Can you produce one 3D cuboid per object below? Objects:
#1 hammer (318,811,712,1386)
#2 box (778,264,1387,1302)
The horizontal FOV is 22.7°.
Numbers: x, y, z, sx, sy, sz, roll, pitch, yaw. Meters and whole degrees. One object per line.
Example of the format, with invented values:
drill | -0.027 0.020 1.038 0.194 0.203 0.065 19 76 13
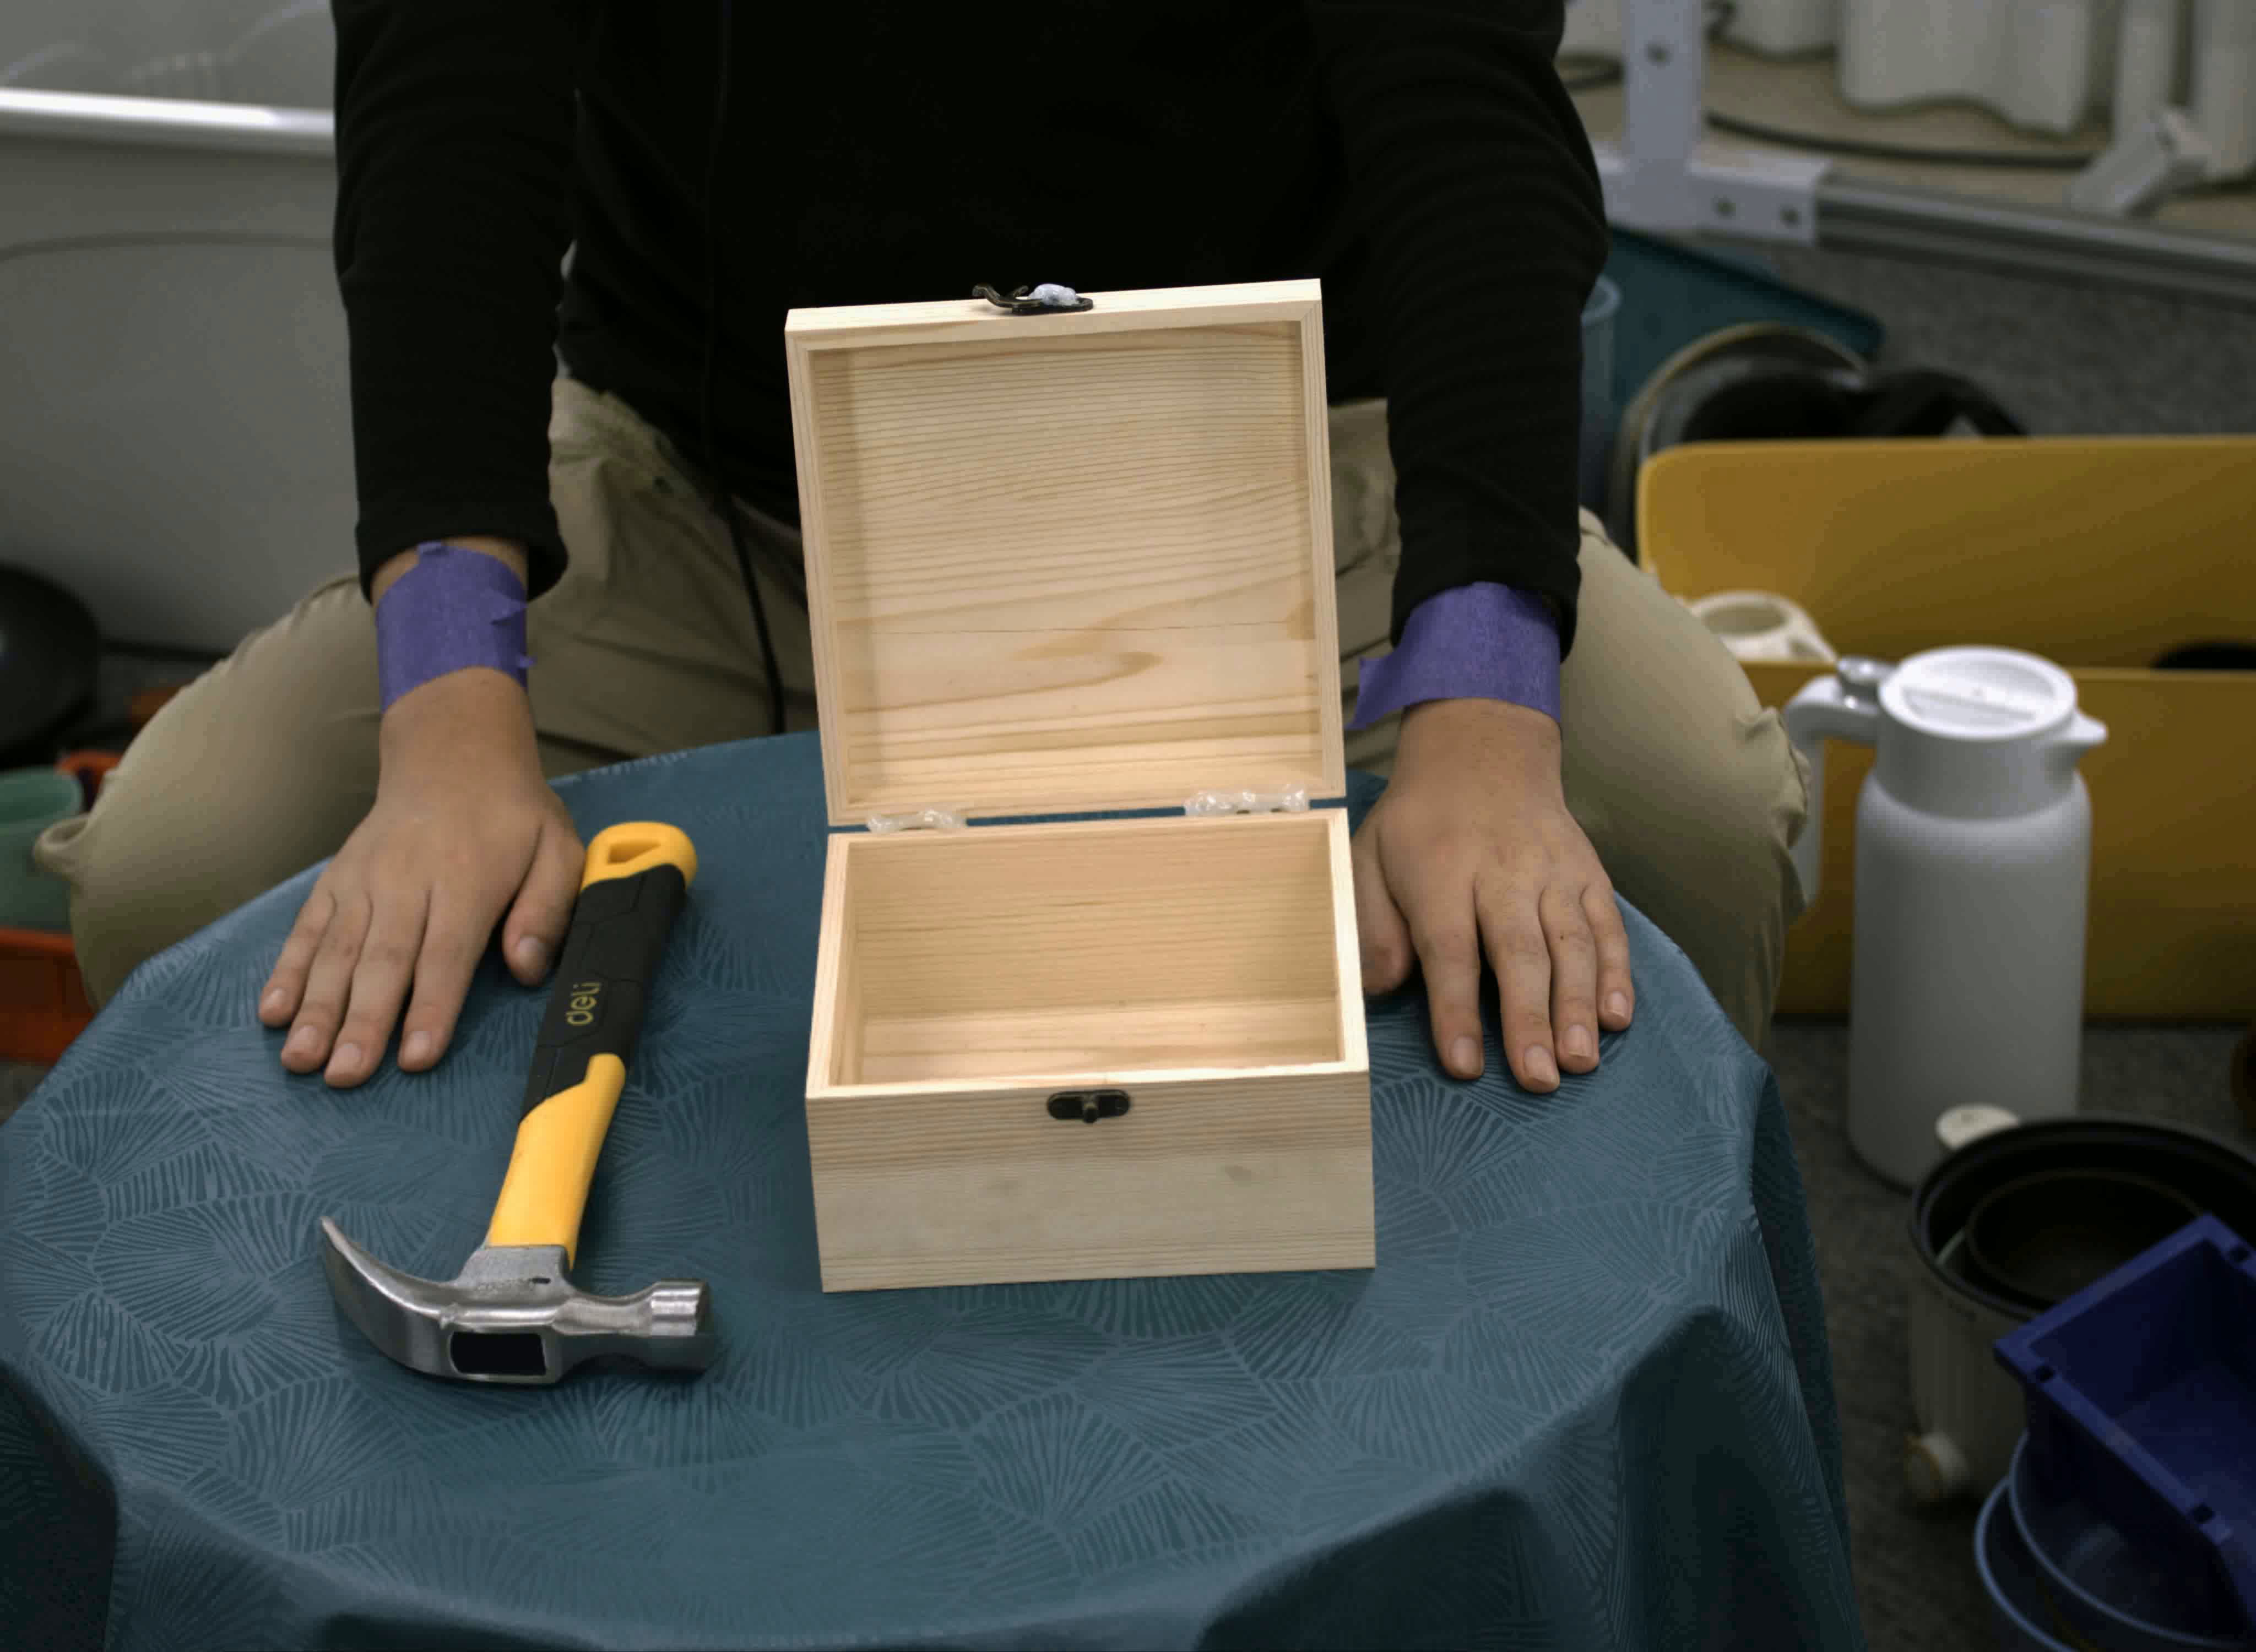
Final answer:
hammer | -0.188 0.085 1.910 0.130 0.032 0.344 0 28 4
box | -0.017 -0.020 1.867 0.181 0.250 0.269 -5 27 1
